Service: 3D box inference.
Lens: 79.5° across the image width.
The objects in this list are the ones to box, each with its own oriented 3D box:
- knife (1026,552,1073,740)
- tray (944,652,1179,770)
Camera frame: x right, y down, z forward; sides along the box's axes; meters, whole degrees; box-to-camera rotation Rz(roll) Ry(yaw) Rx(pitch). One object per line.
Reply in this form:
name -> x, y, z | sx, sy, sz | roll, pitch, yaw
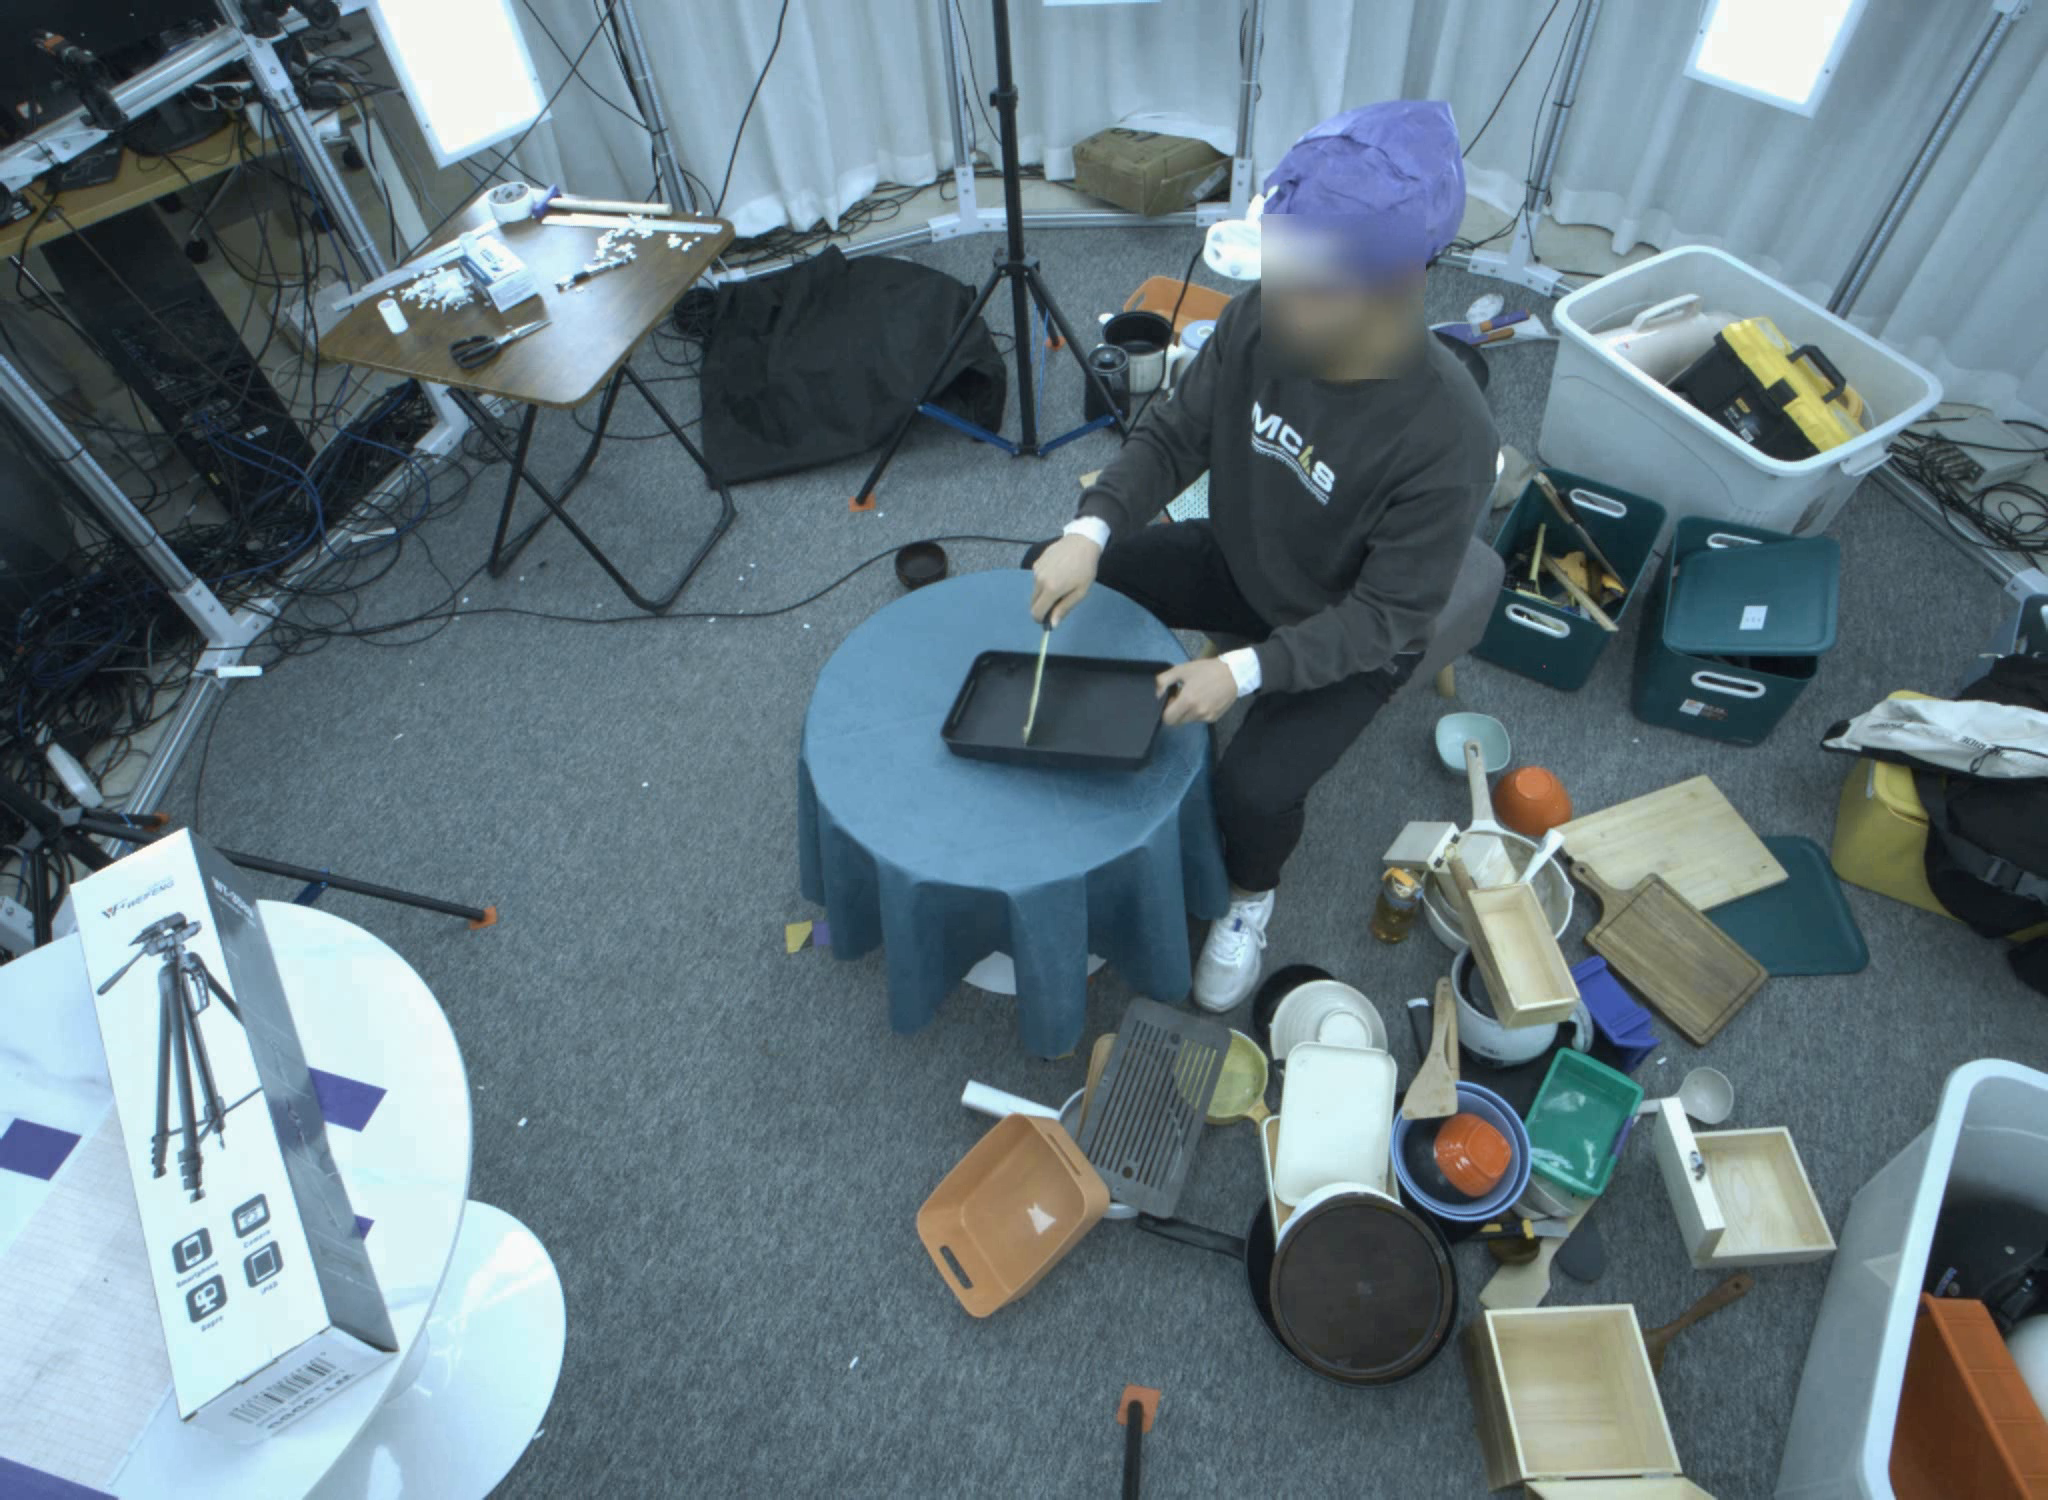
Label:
knife -> 0.032, -0.151, 1.778 | 0.027, 0.081, 0.288 | 14, 75, -6
tray -> 0.055, -0.060, 1.771 | 0.313, 0.037, 0.184 | 4, 51, 21
